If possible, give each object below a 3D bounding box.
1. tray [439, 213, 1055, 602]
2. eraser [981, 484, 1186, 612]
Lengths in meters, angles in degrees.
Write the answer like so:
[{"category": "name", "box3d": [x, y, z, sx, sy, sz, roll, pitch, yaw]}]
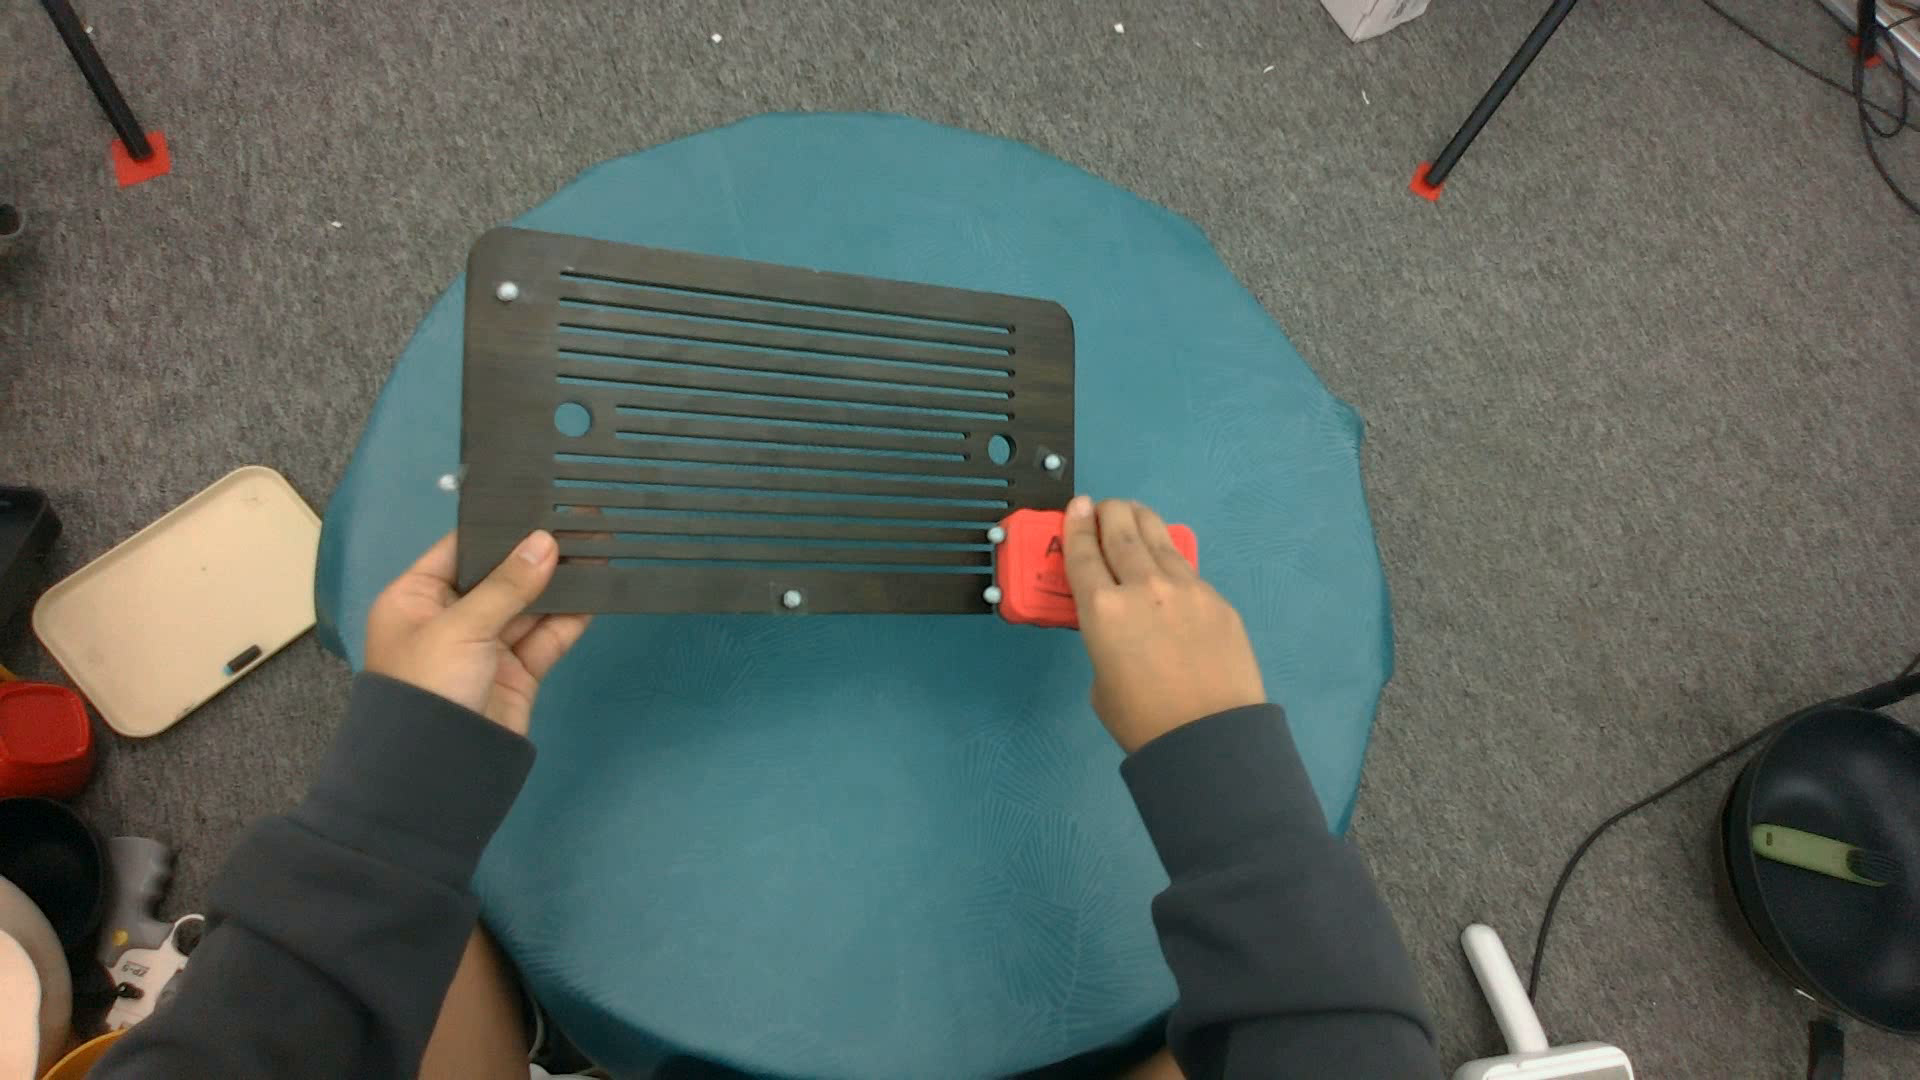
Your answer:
[{"category": "tray", "box3d": [-0.089, -0.056, 0.664, 0.306, 0.018, 0.170, 1, 85, -28]}, {"category": "eraser", "box3d": [0.064, 0.005, 0.706, 0.108, 0.023, 0.059, 5, 74, -23]}]
